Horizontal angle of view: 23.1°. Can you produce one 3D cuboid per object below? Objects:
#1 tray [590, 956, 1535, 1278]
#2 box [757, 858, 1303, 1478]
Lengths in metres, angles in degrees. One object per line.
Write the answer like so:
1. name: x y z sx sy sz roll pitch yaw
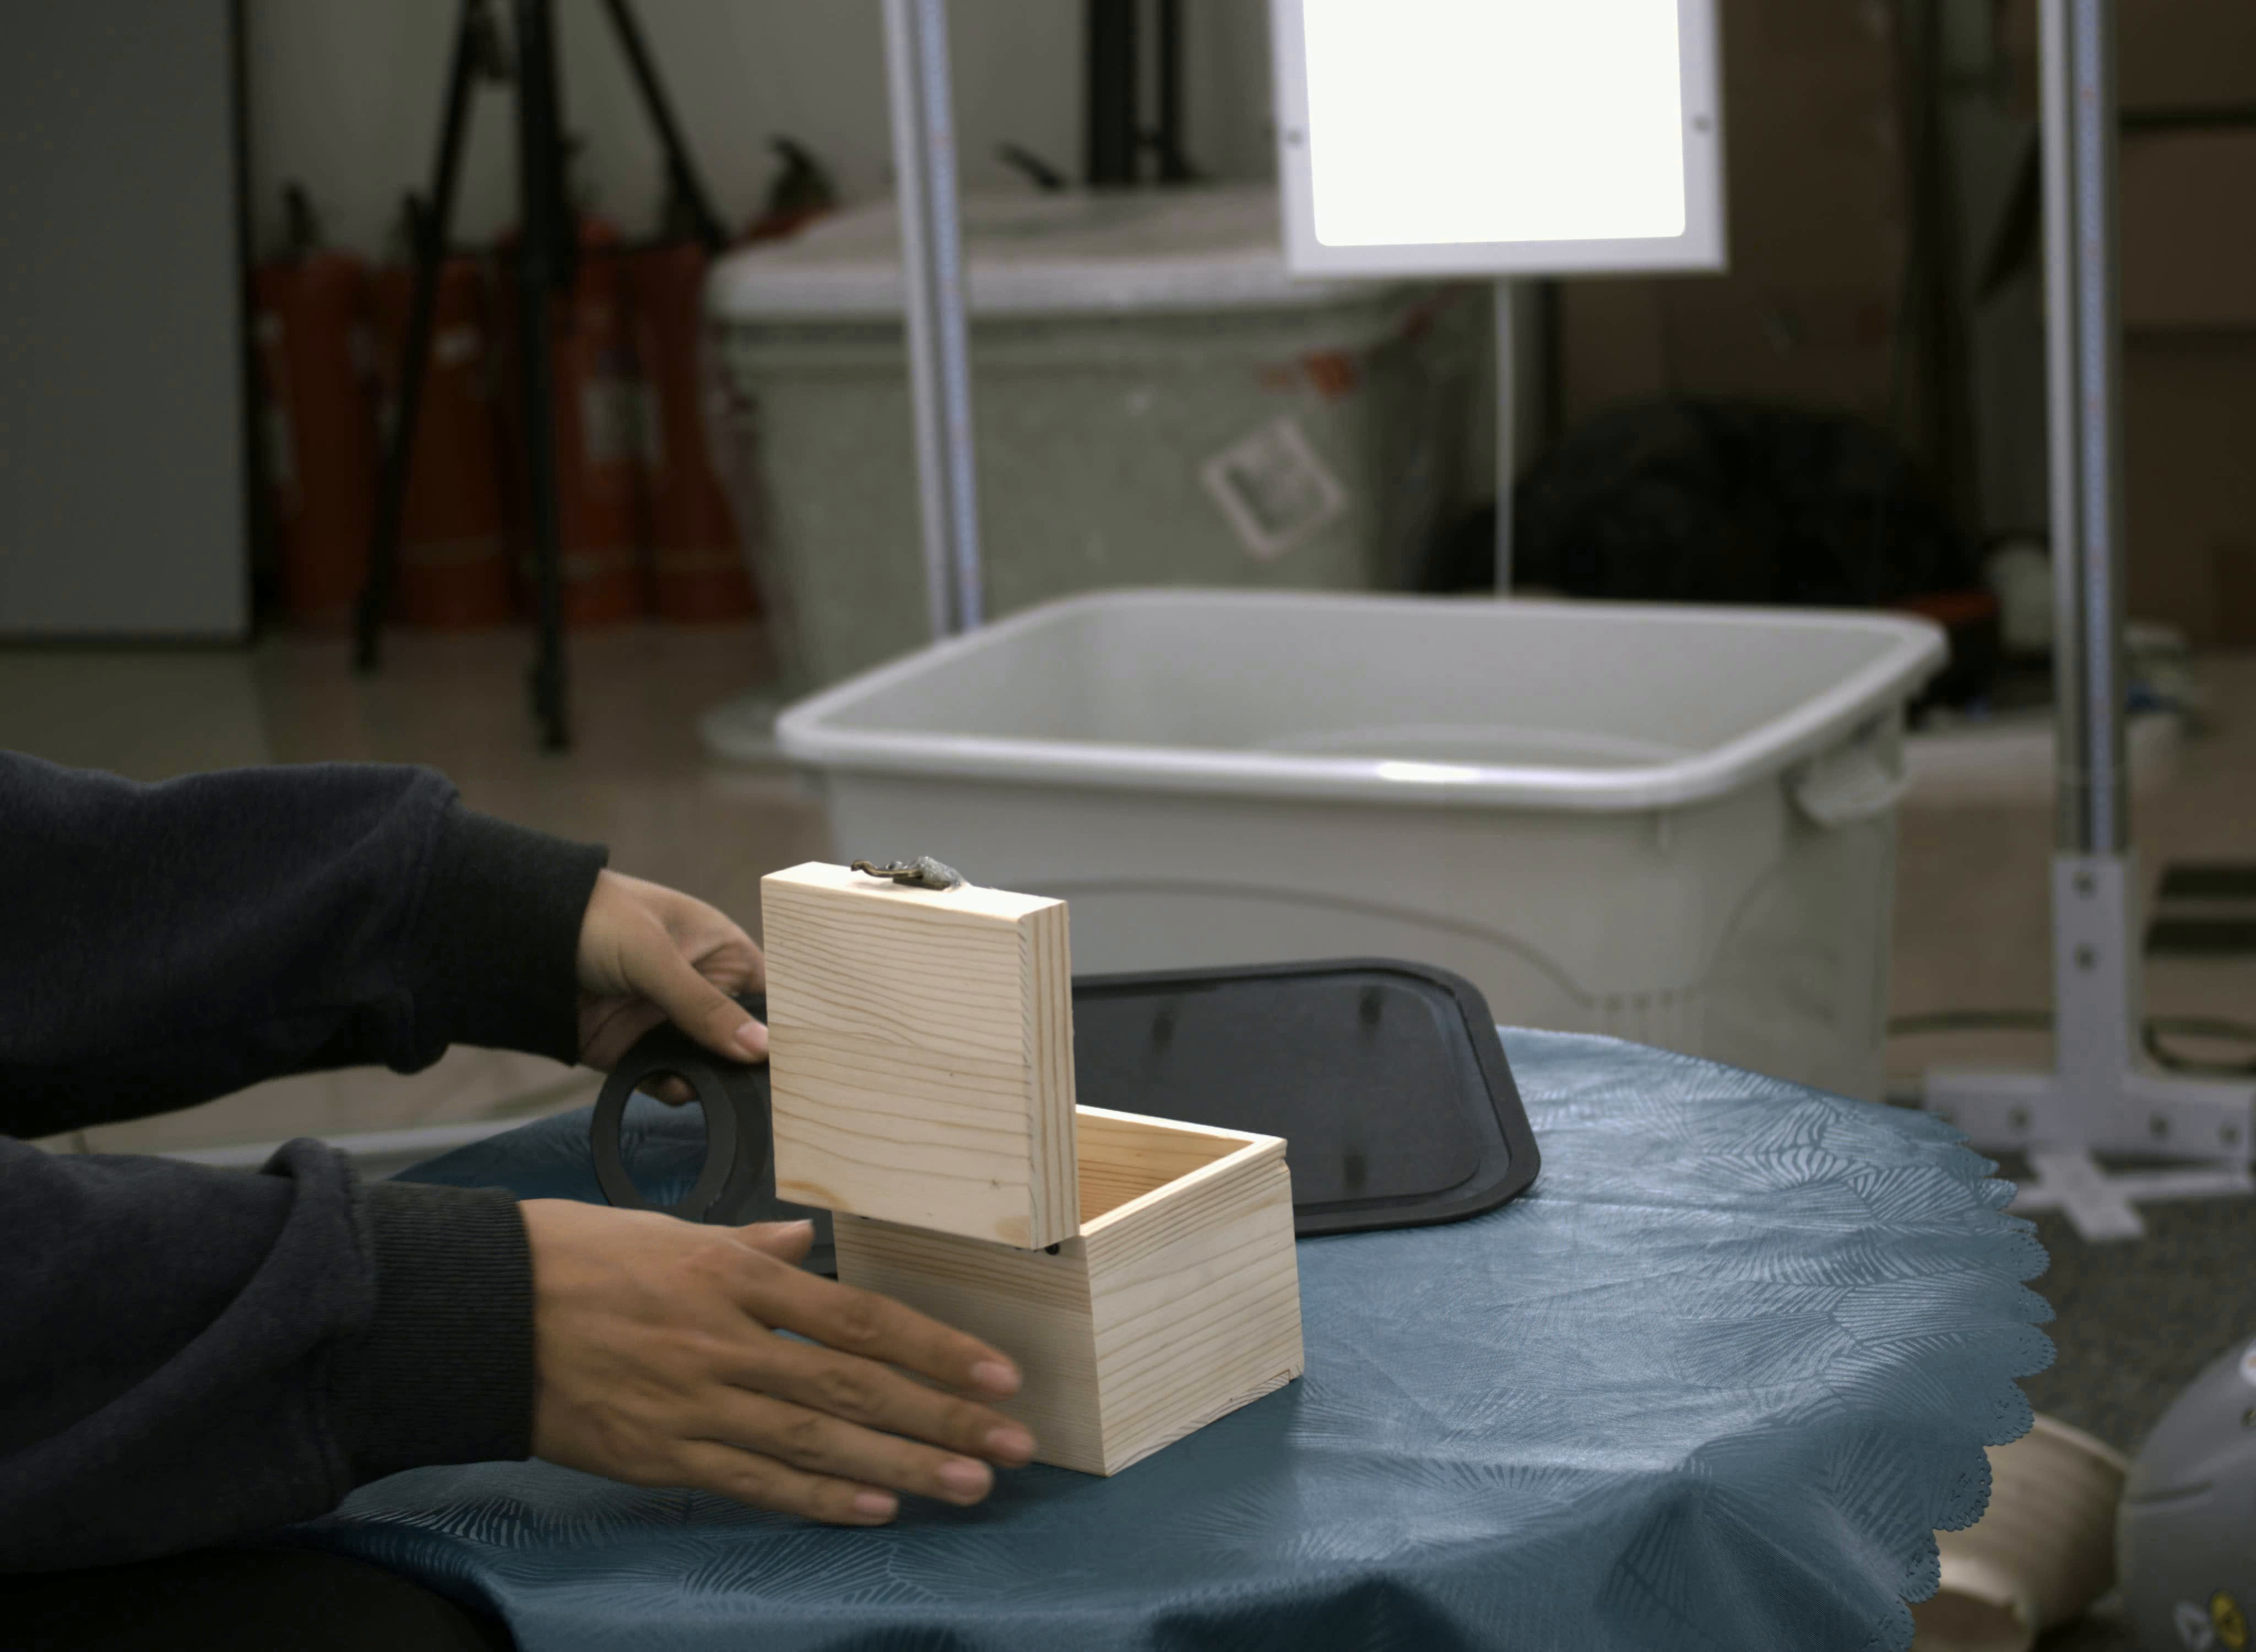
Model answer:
1. tray: -0.026 0.099 1.924 0.324 0.010 0.211 -5 24 -1
2. box: -0.027 0.090 1.666 0.105 0.185 0.130 8 19 38
